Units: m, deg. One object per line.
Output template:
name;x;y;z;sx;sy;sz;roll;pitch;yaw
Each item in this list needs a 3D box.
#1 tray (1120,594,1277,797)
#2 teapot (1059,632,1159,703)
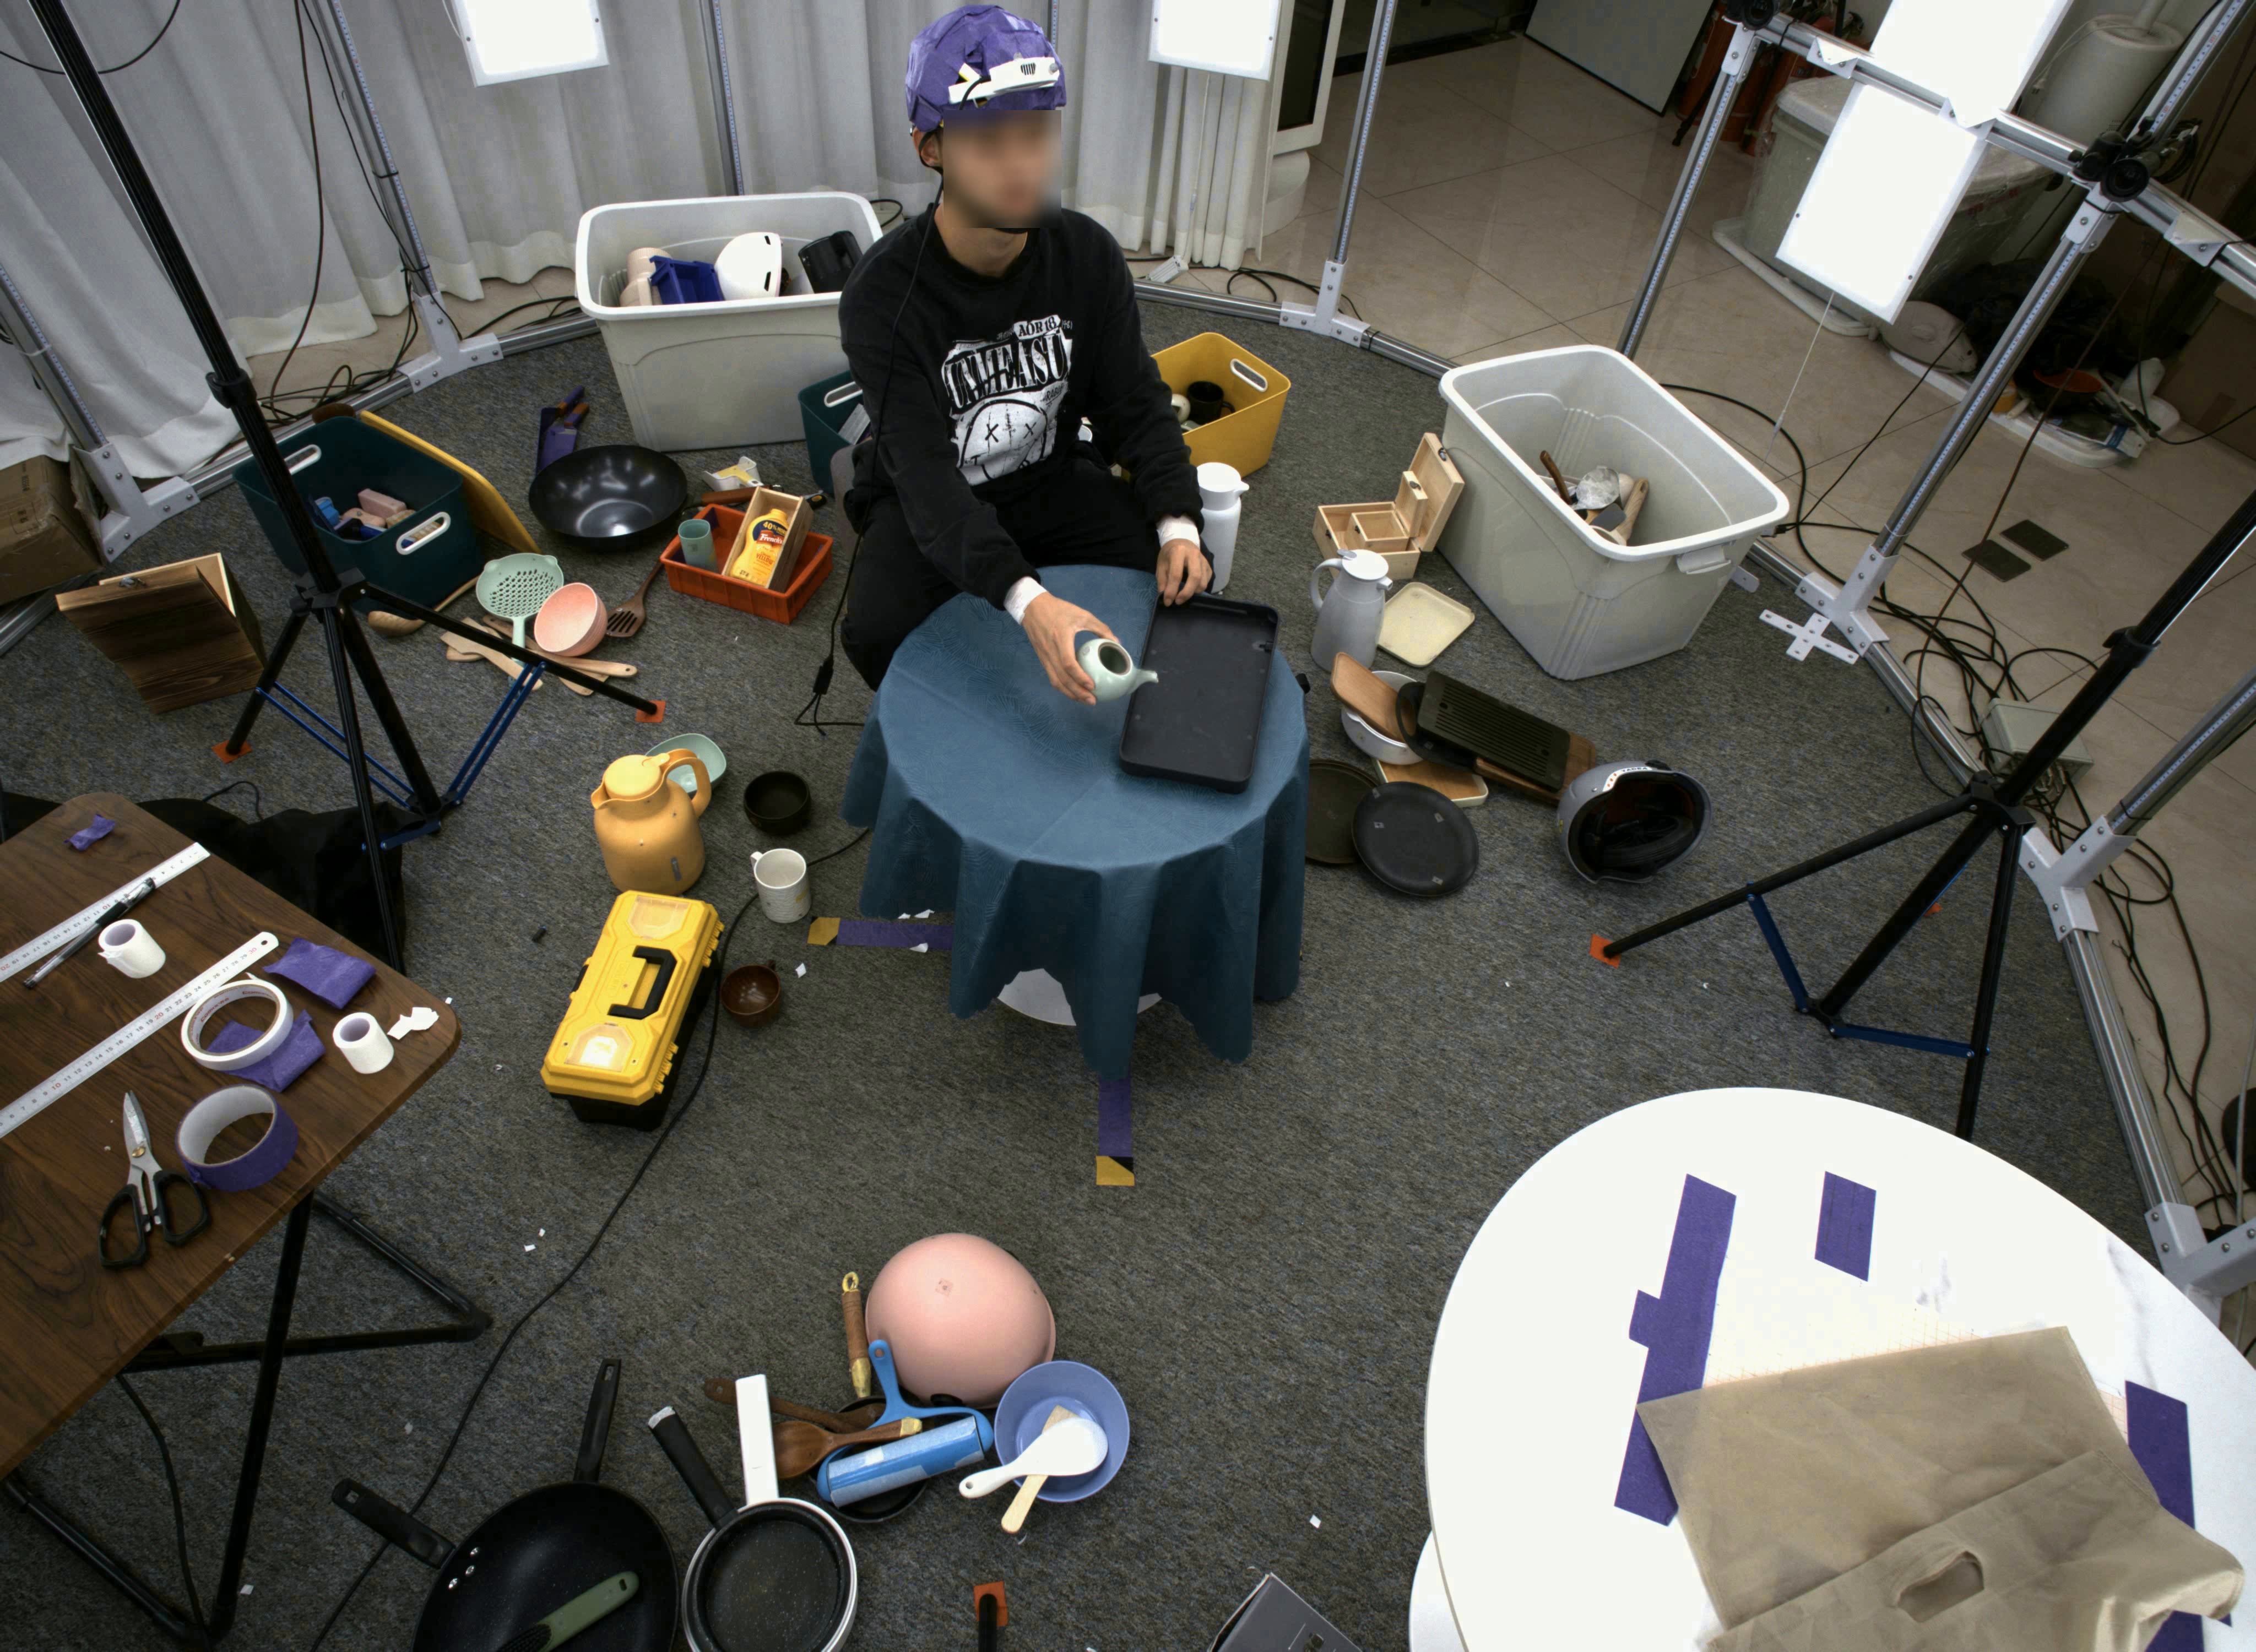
tray;0.101;-0.188;1.793;0.184;0.036;0.325;9;56;5
teapot;-0.035;-0.210;1.729;0.142;0.074;0.090;27;48;-23
